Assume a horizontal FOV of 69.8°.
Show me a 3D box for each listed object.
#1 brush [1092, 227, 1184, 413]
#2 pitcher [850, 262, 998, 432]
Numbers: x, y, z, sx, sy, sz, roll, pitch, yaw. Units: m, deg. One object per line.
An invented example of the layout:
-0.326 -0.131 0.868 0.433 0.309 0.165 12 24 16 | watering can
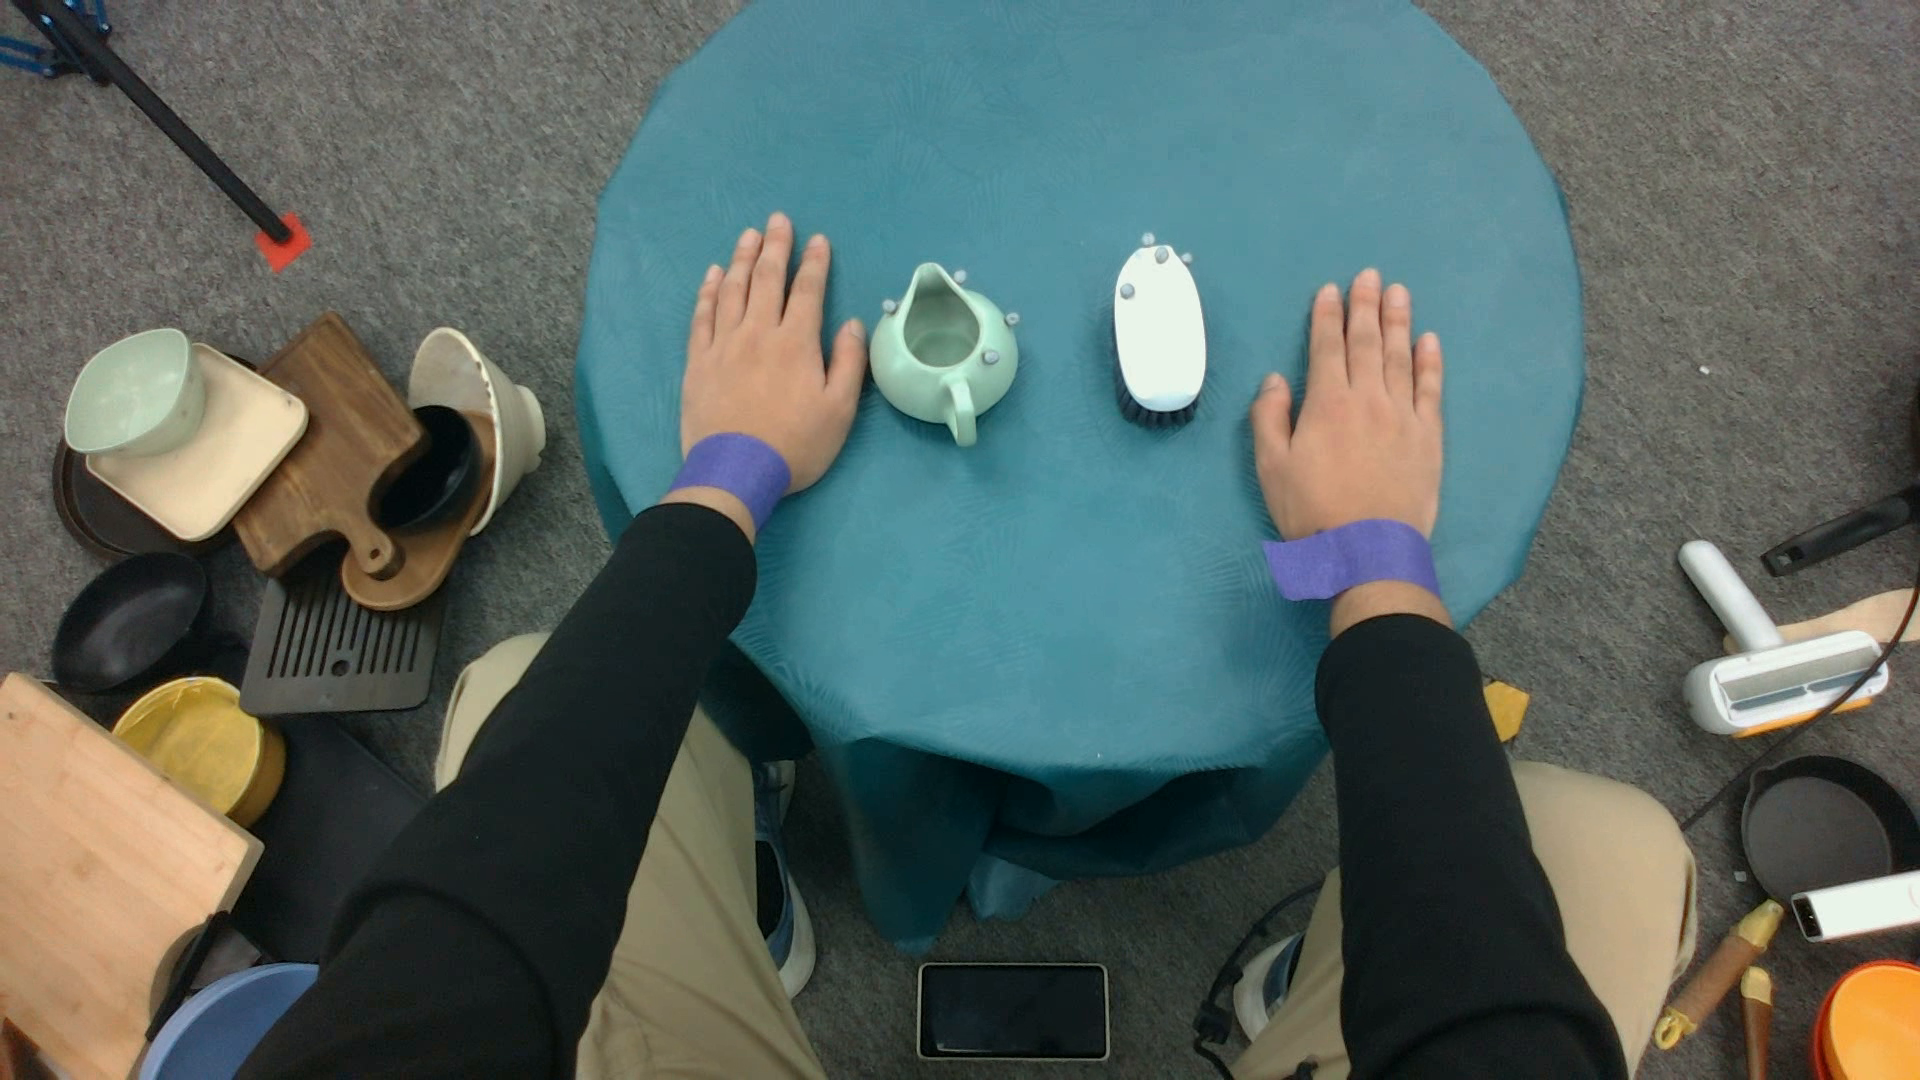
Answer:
0.102 -0.131 0.780 0.050 0.072 0.099 -2 69 2 | brush
-0.019 -0.101 0.776 0.086 0.060 0.108 5 53 -9 | pitcher
